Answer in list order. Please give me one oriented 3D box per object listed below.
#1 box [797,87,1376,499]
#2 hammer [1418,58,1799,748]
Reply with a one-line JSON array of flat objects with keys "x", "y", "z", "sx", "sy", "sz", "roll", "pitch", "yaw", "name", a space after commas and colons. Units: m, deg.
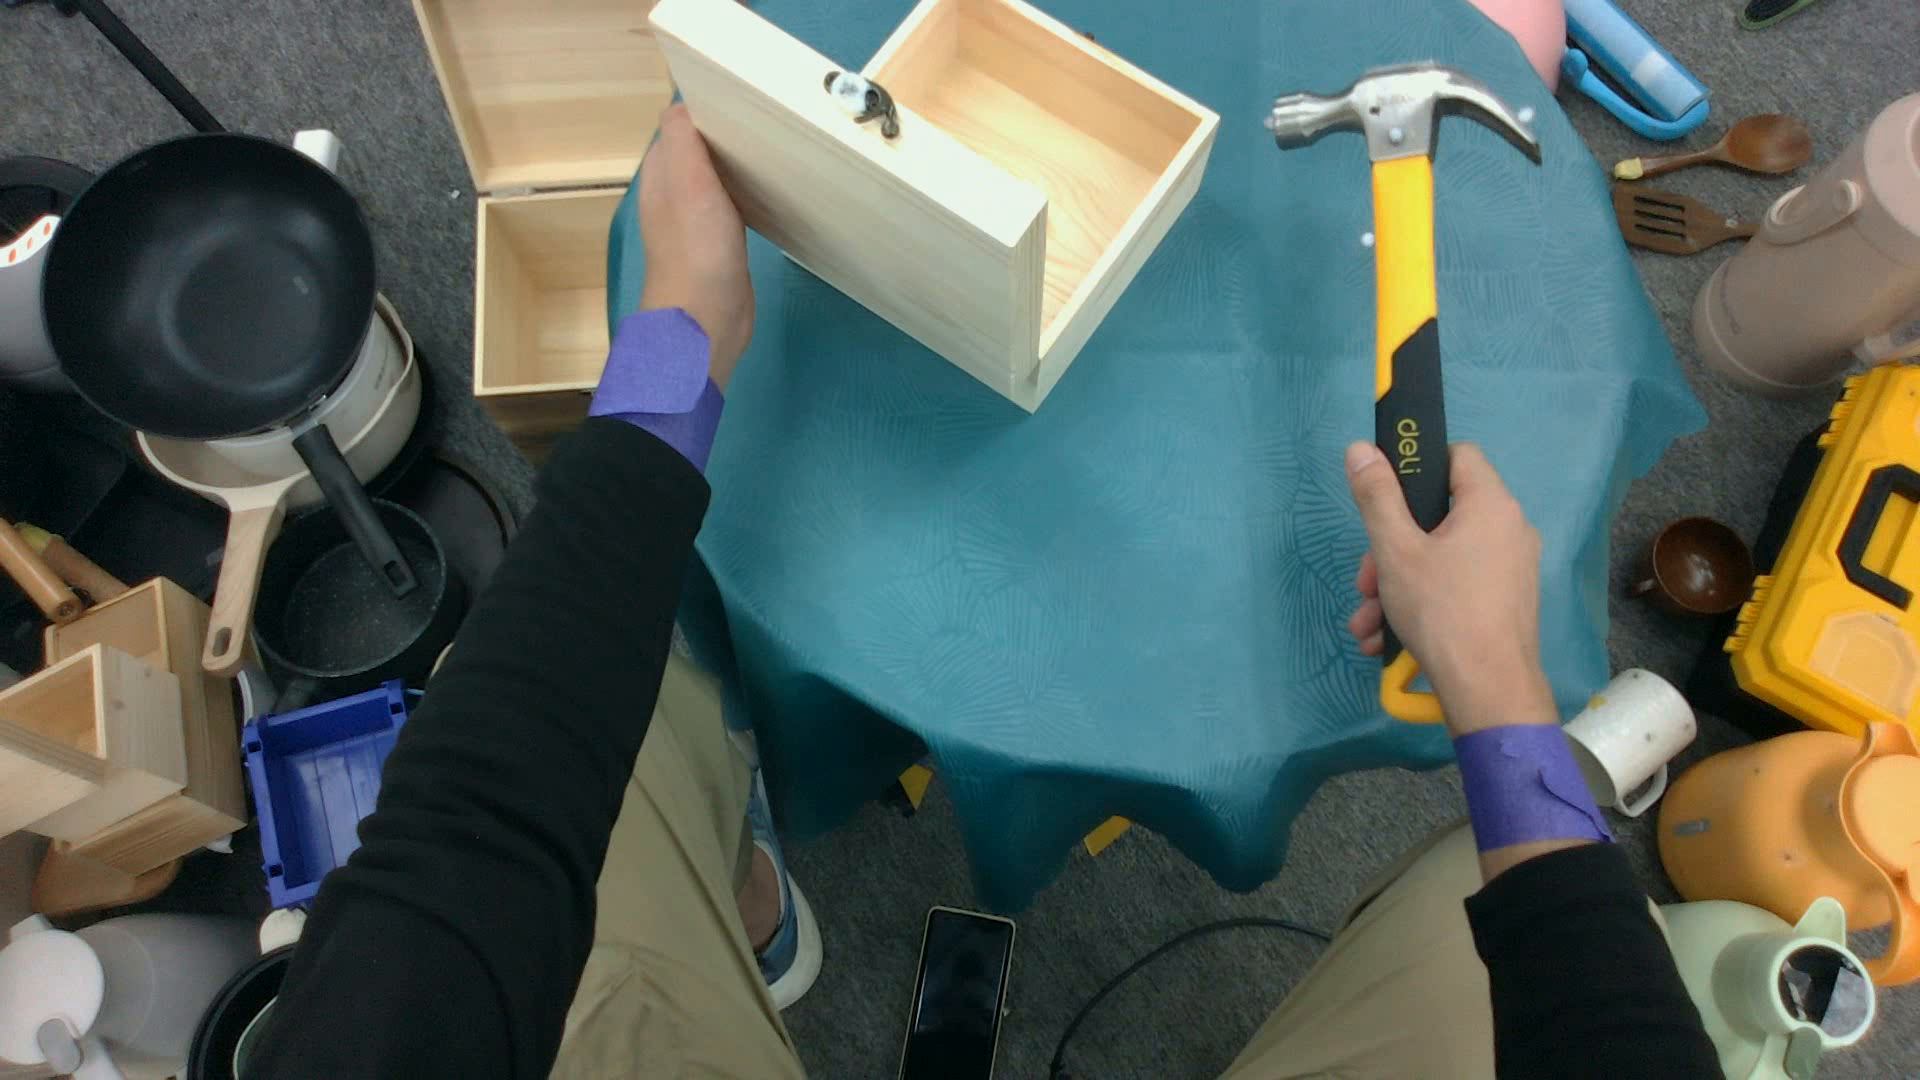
[{"x": 0.086, "y": -0.149, "z": 0.706, "sx": 0.181, "sy": 0.252, "sz": 0.266, "roll": 22, "pitch": 73, "yaw": 18, "name": "box"}, {"x": 0.324, "y": -0.070, "z": 0.654, "sx": 0.131, "sy": 0.032, "sz": 0.339, "roll": -22, "pitch": 74, "yaw": 40, "name": "hammer"}]
